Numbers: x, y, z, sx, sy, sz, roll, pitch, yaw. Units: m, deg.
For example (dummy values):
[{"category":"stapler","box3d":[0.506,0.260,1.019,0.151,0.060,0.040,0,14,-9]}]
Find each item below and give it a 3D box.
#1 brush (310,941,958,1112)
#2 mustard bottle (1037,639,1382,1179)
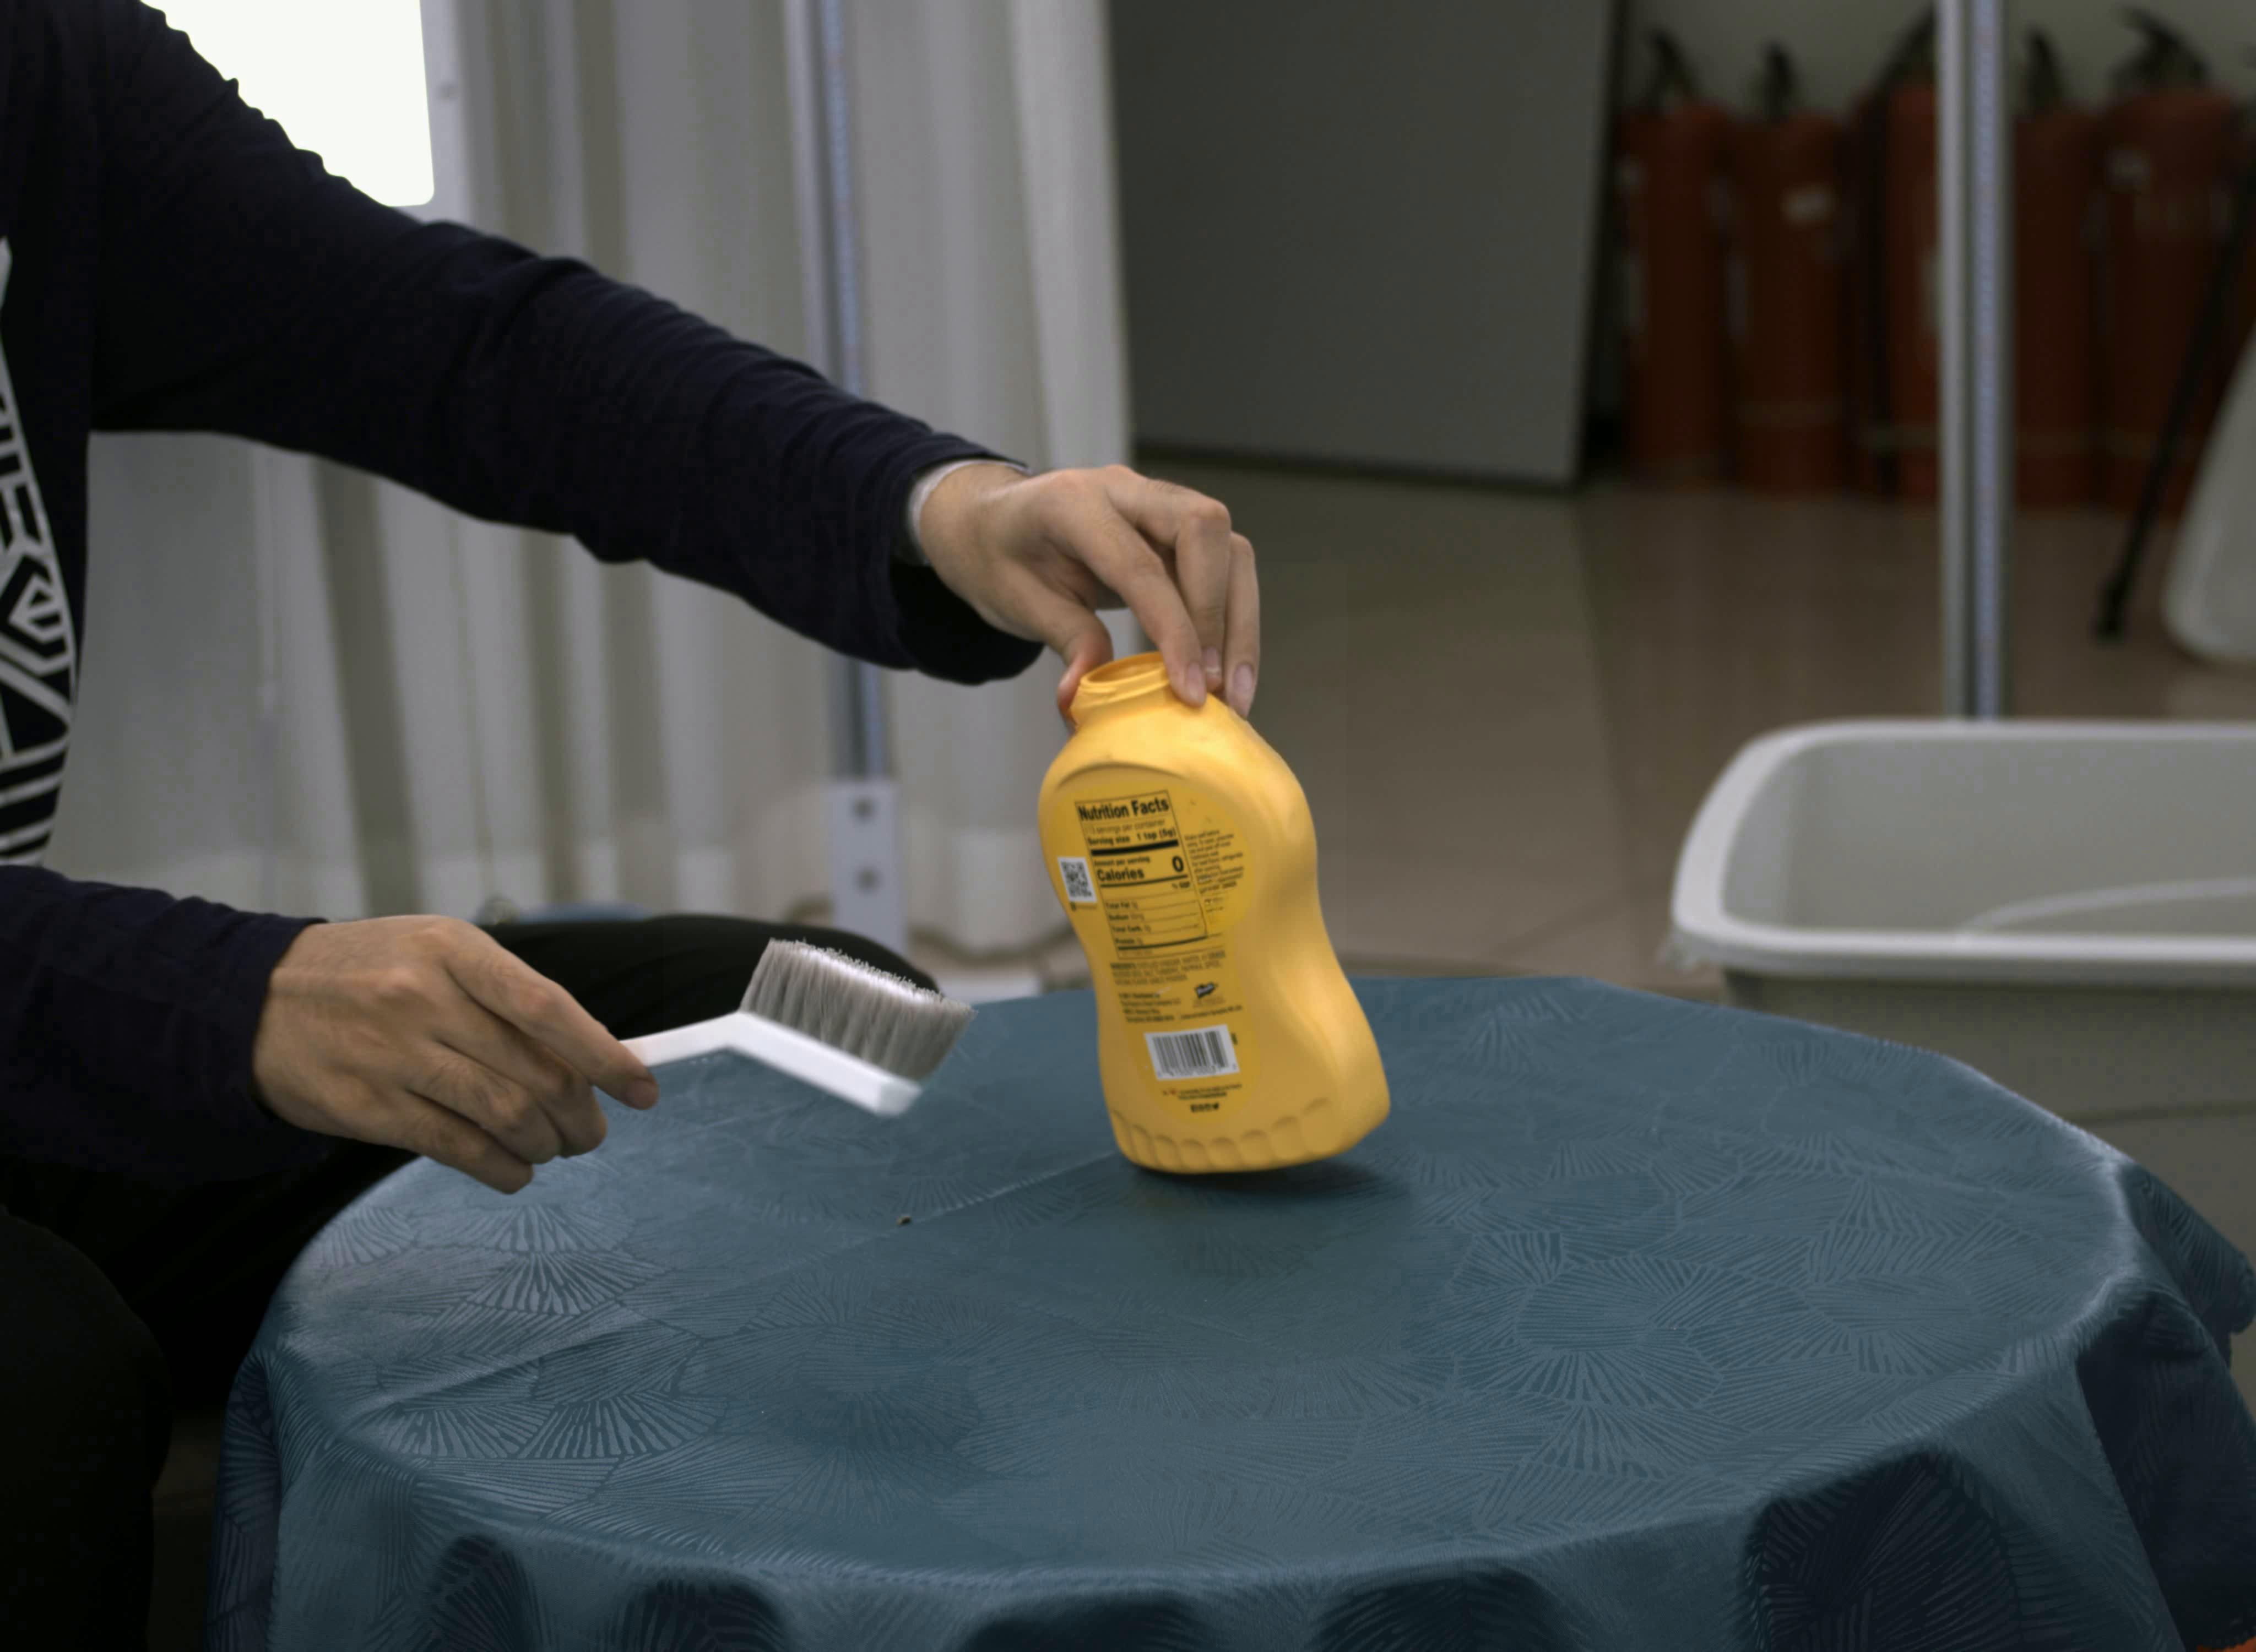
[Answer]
[{"category":"brush","box3d":[-0.157,0.062,1.669,0.245,0.051,0.034,-1,-6,35]},{"category":"mustard bottle","box3d":[0.020,0.026,1.764,0.098,0.173,0.058,-9,11,31]}]
